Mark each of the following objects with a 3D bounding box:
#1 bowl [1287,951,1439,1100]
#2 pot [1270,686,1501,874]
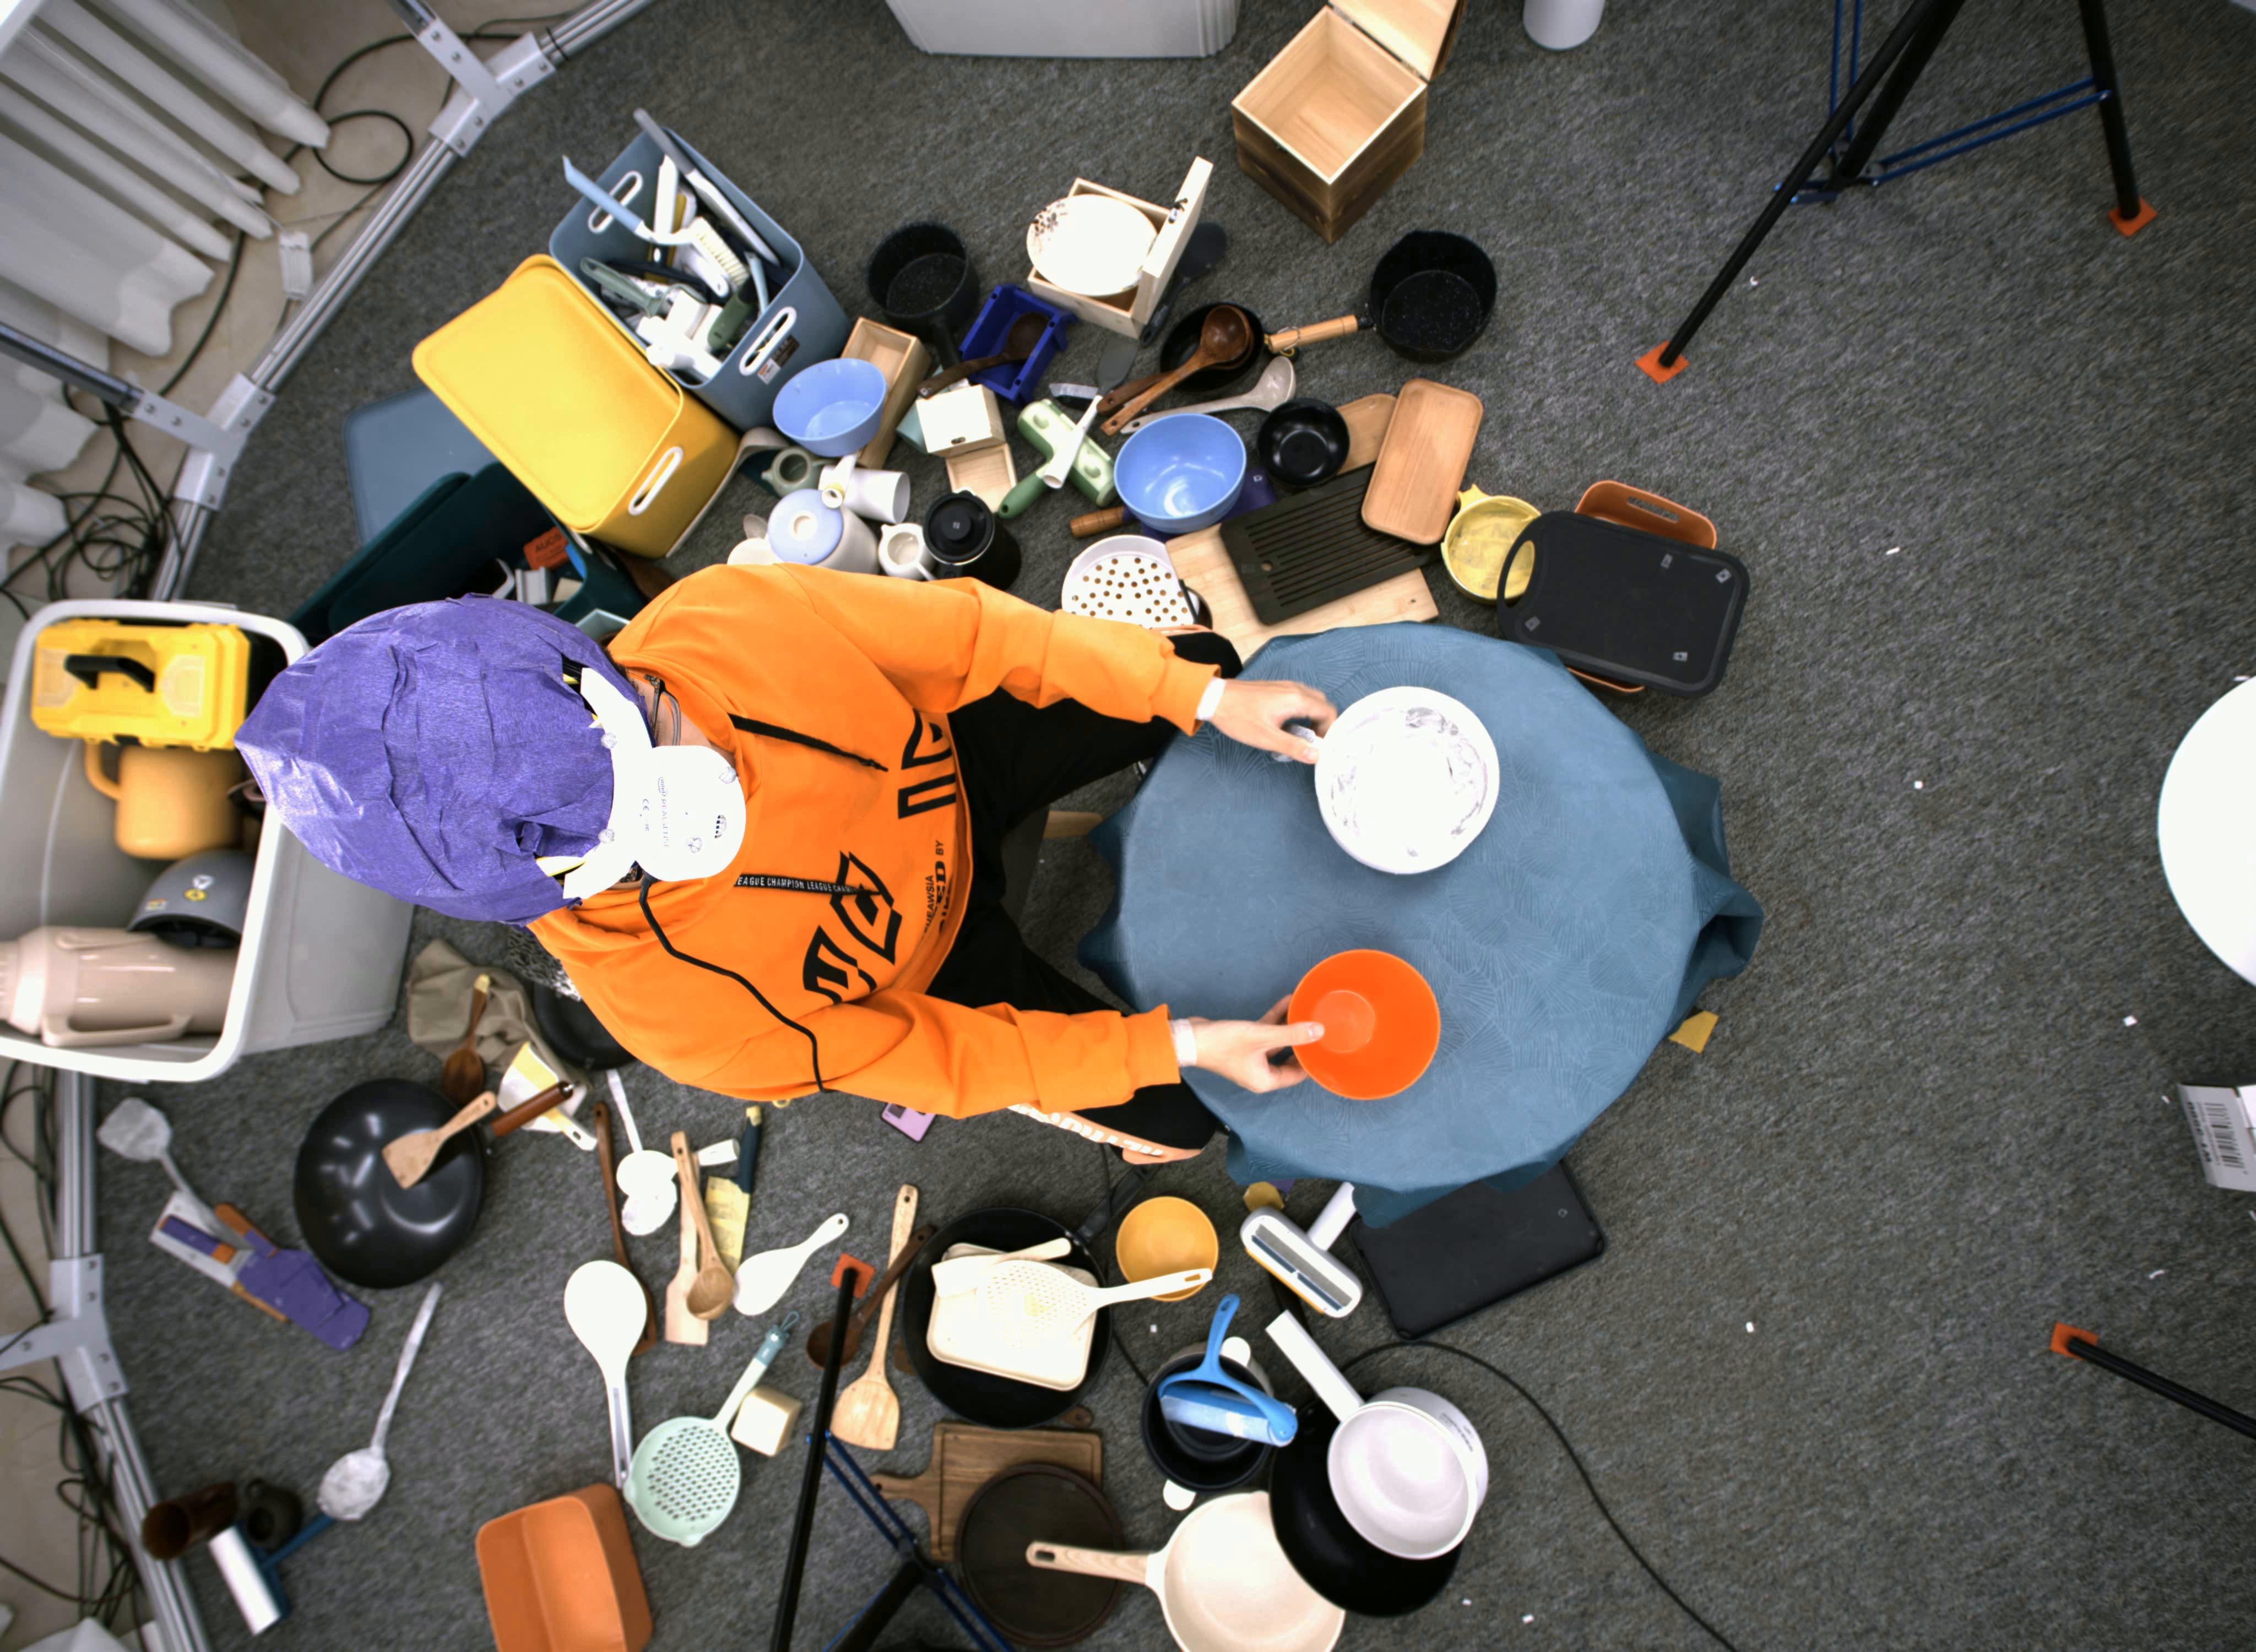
[{"bbox_3d":[0.234,0.200,1.409,0.148,0.105,0.147,0,86,5],"label":"bowl"},{"bbox_3d":[0.254,-0.053,1.400,0.234,0.137,0.178,20,89,10],"label":"pot"}]
